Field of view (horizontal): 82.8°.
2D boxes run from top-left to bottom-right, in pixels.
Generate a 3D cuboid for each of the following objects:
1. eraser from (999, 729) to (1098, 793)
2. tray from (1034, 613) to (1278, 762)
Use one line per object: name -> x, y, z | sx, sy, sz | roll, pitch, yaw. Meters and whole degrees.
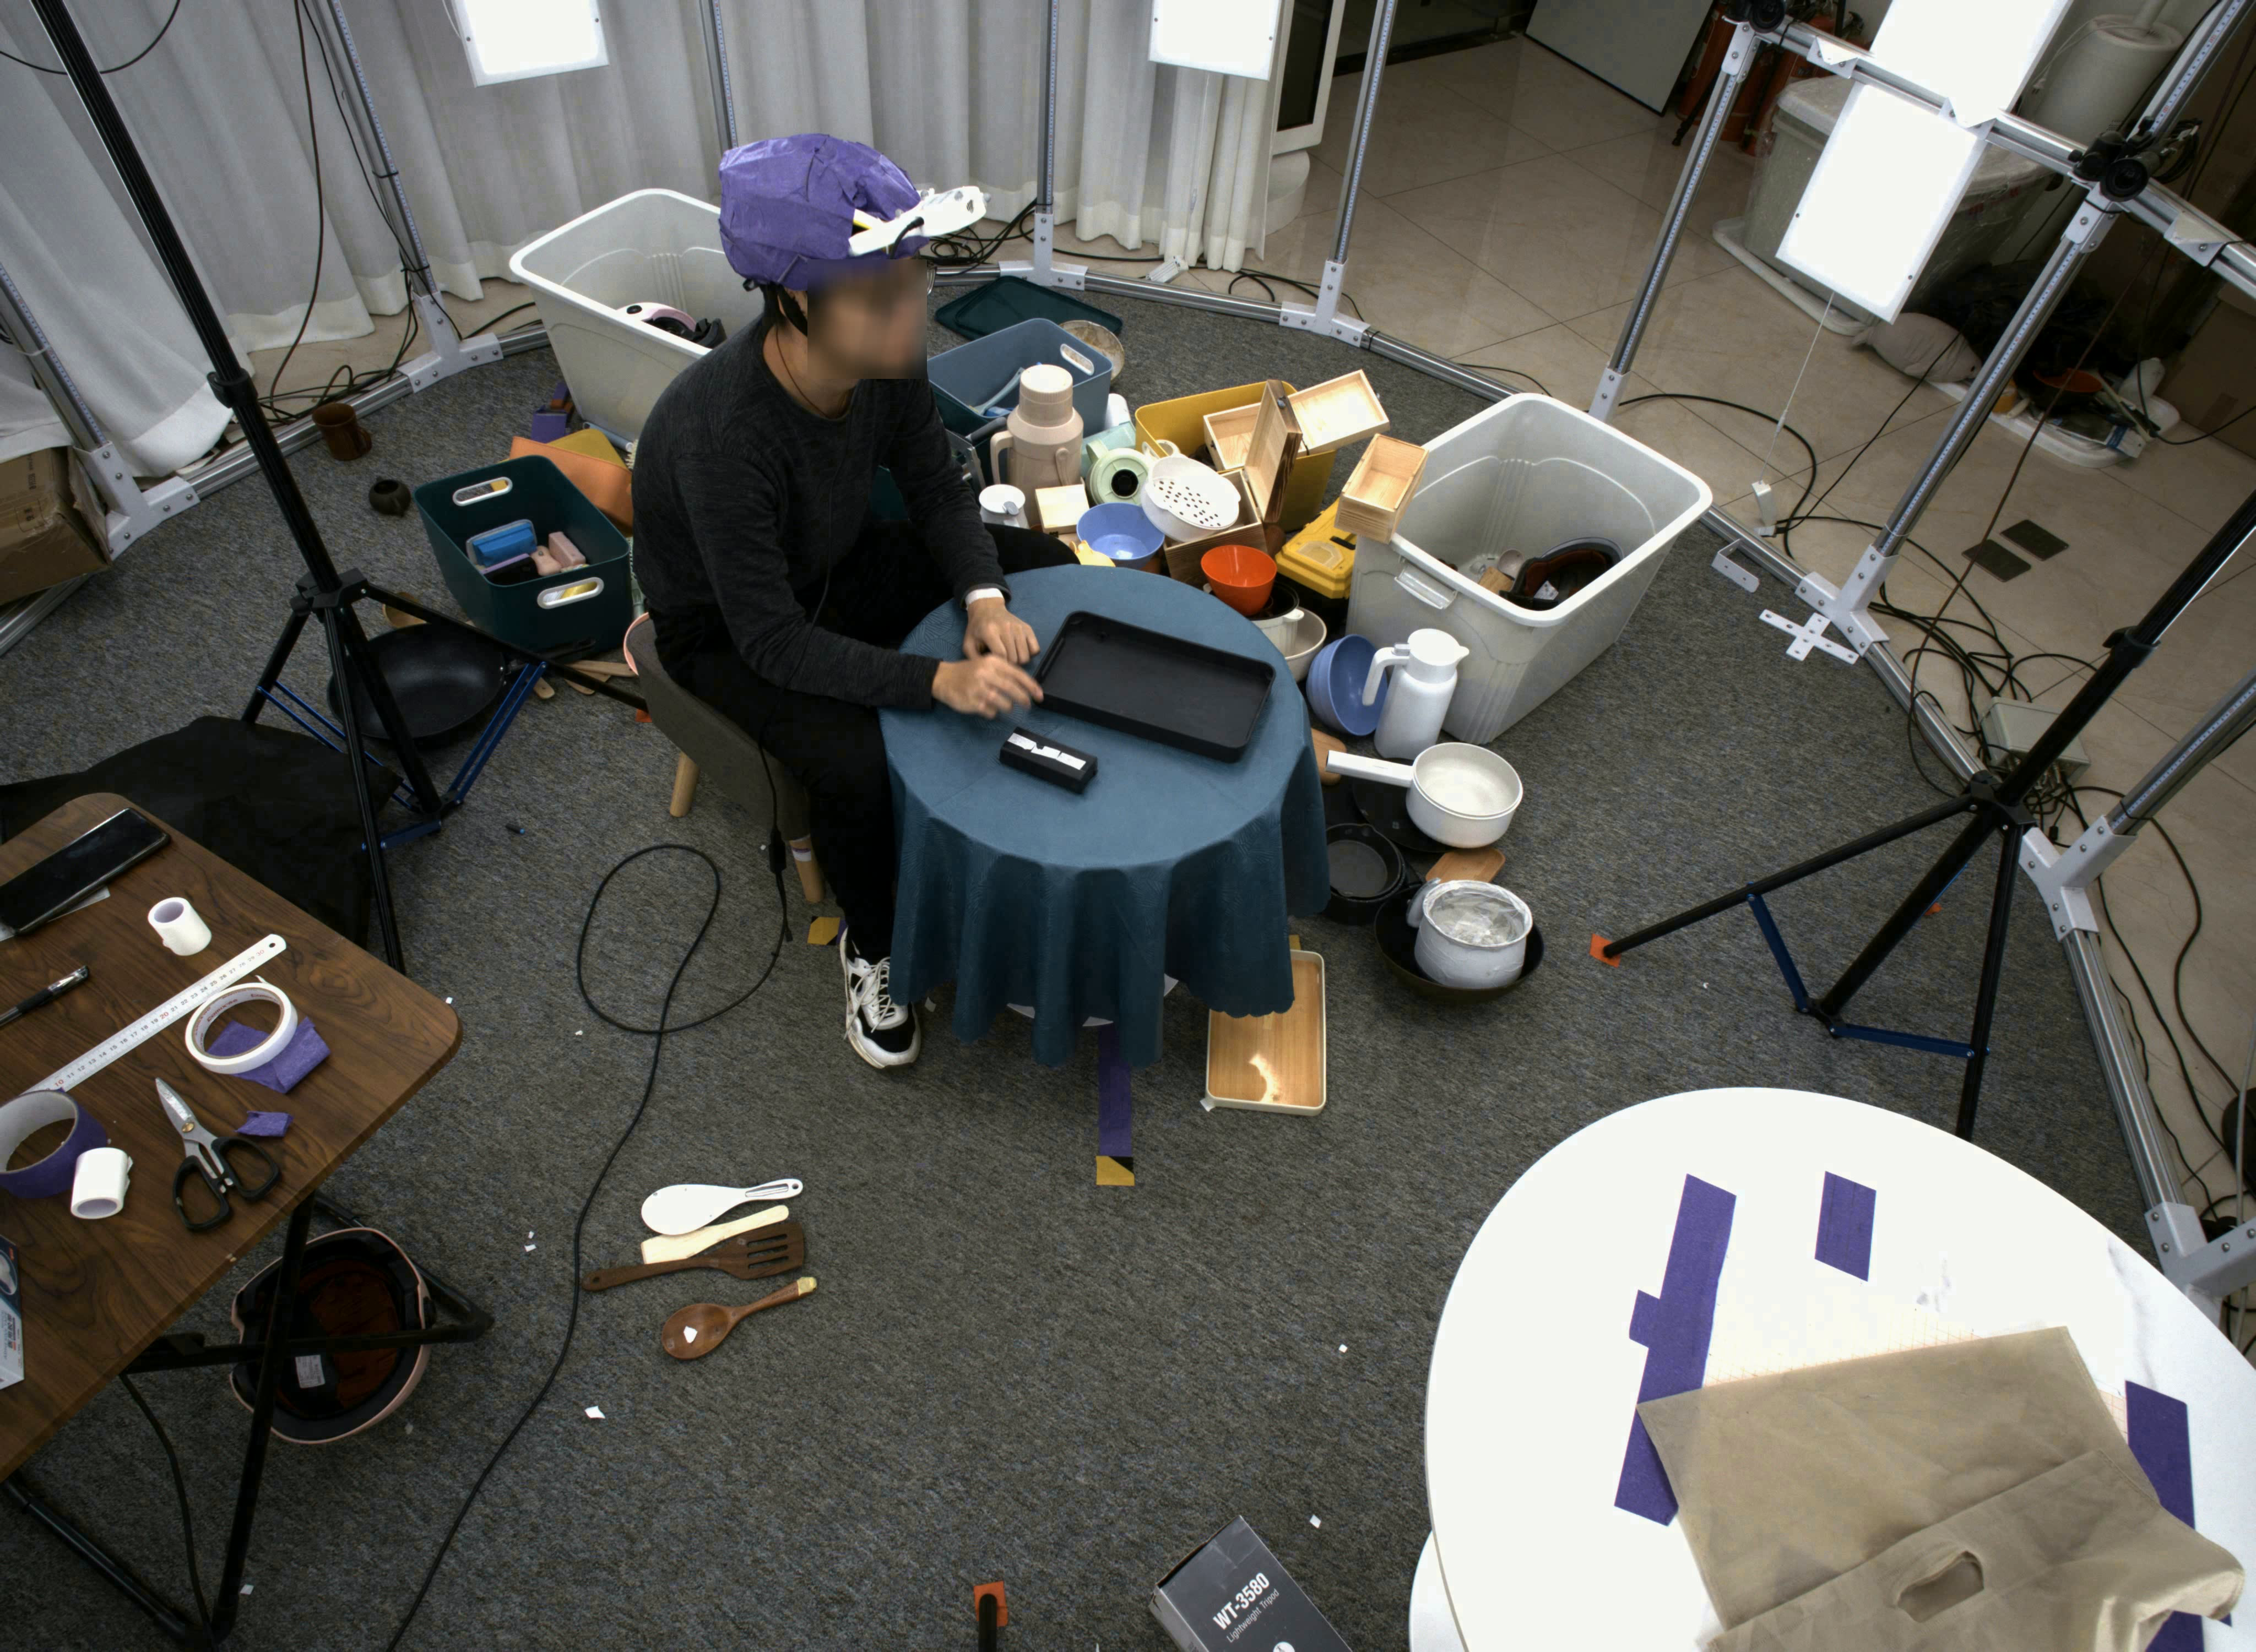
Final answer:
eraser -> -0.106, -0.088, 1.721 | 0.126, 0.030, 0.054 | 21, 49, 15
tray -> 0.041, -0.200, 1.824 | 0.319, 0.036, 0.188 | 16, 50, 10
